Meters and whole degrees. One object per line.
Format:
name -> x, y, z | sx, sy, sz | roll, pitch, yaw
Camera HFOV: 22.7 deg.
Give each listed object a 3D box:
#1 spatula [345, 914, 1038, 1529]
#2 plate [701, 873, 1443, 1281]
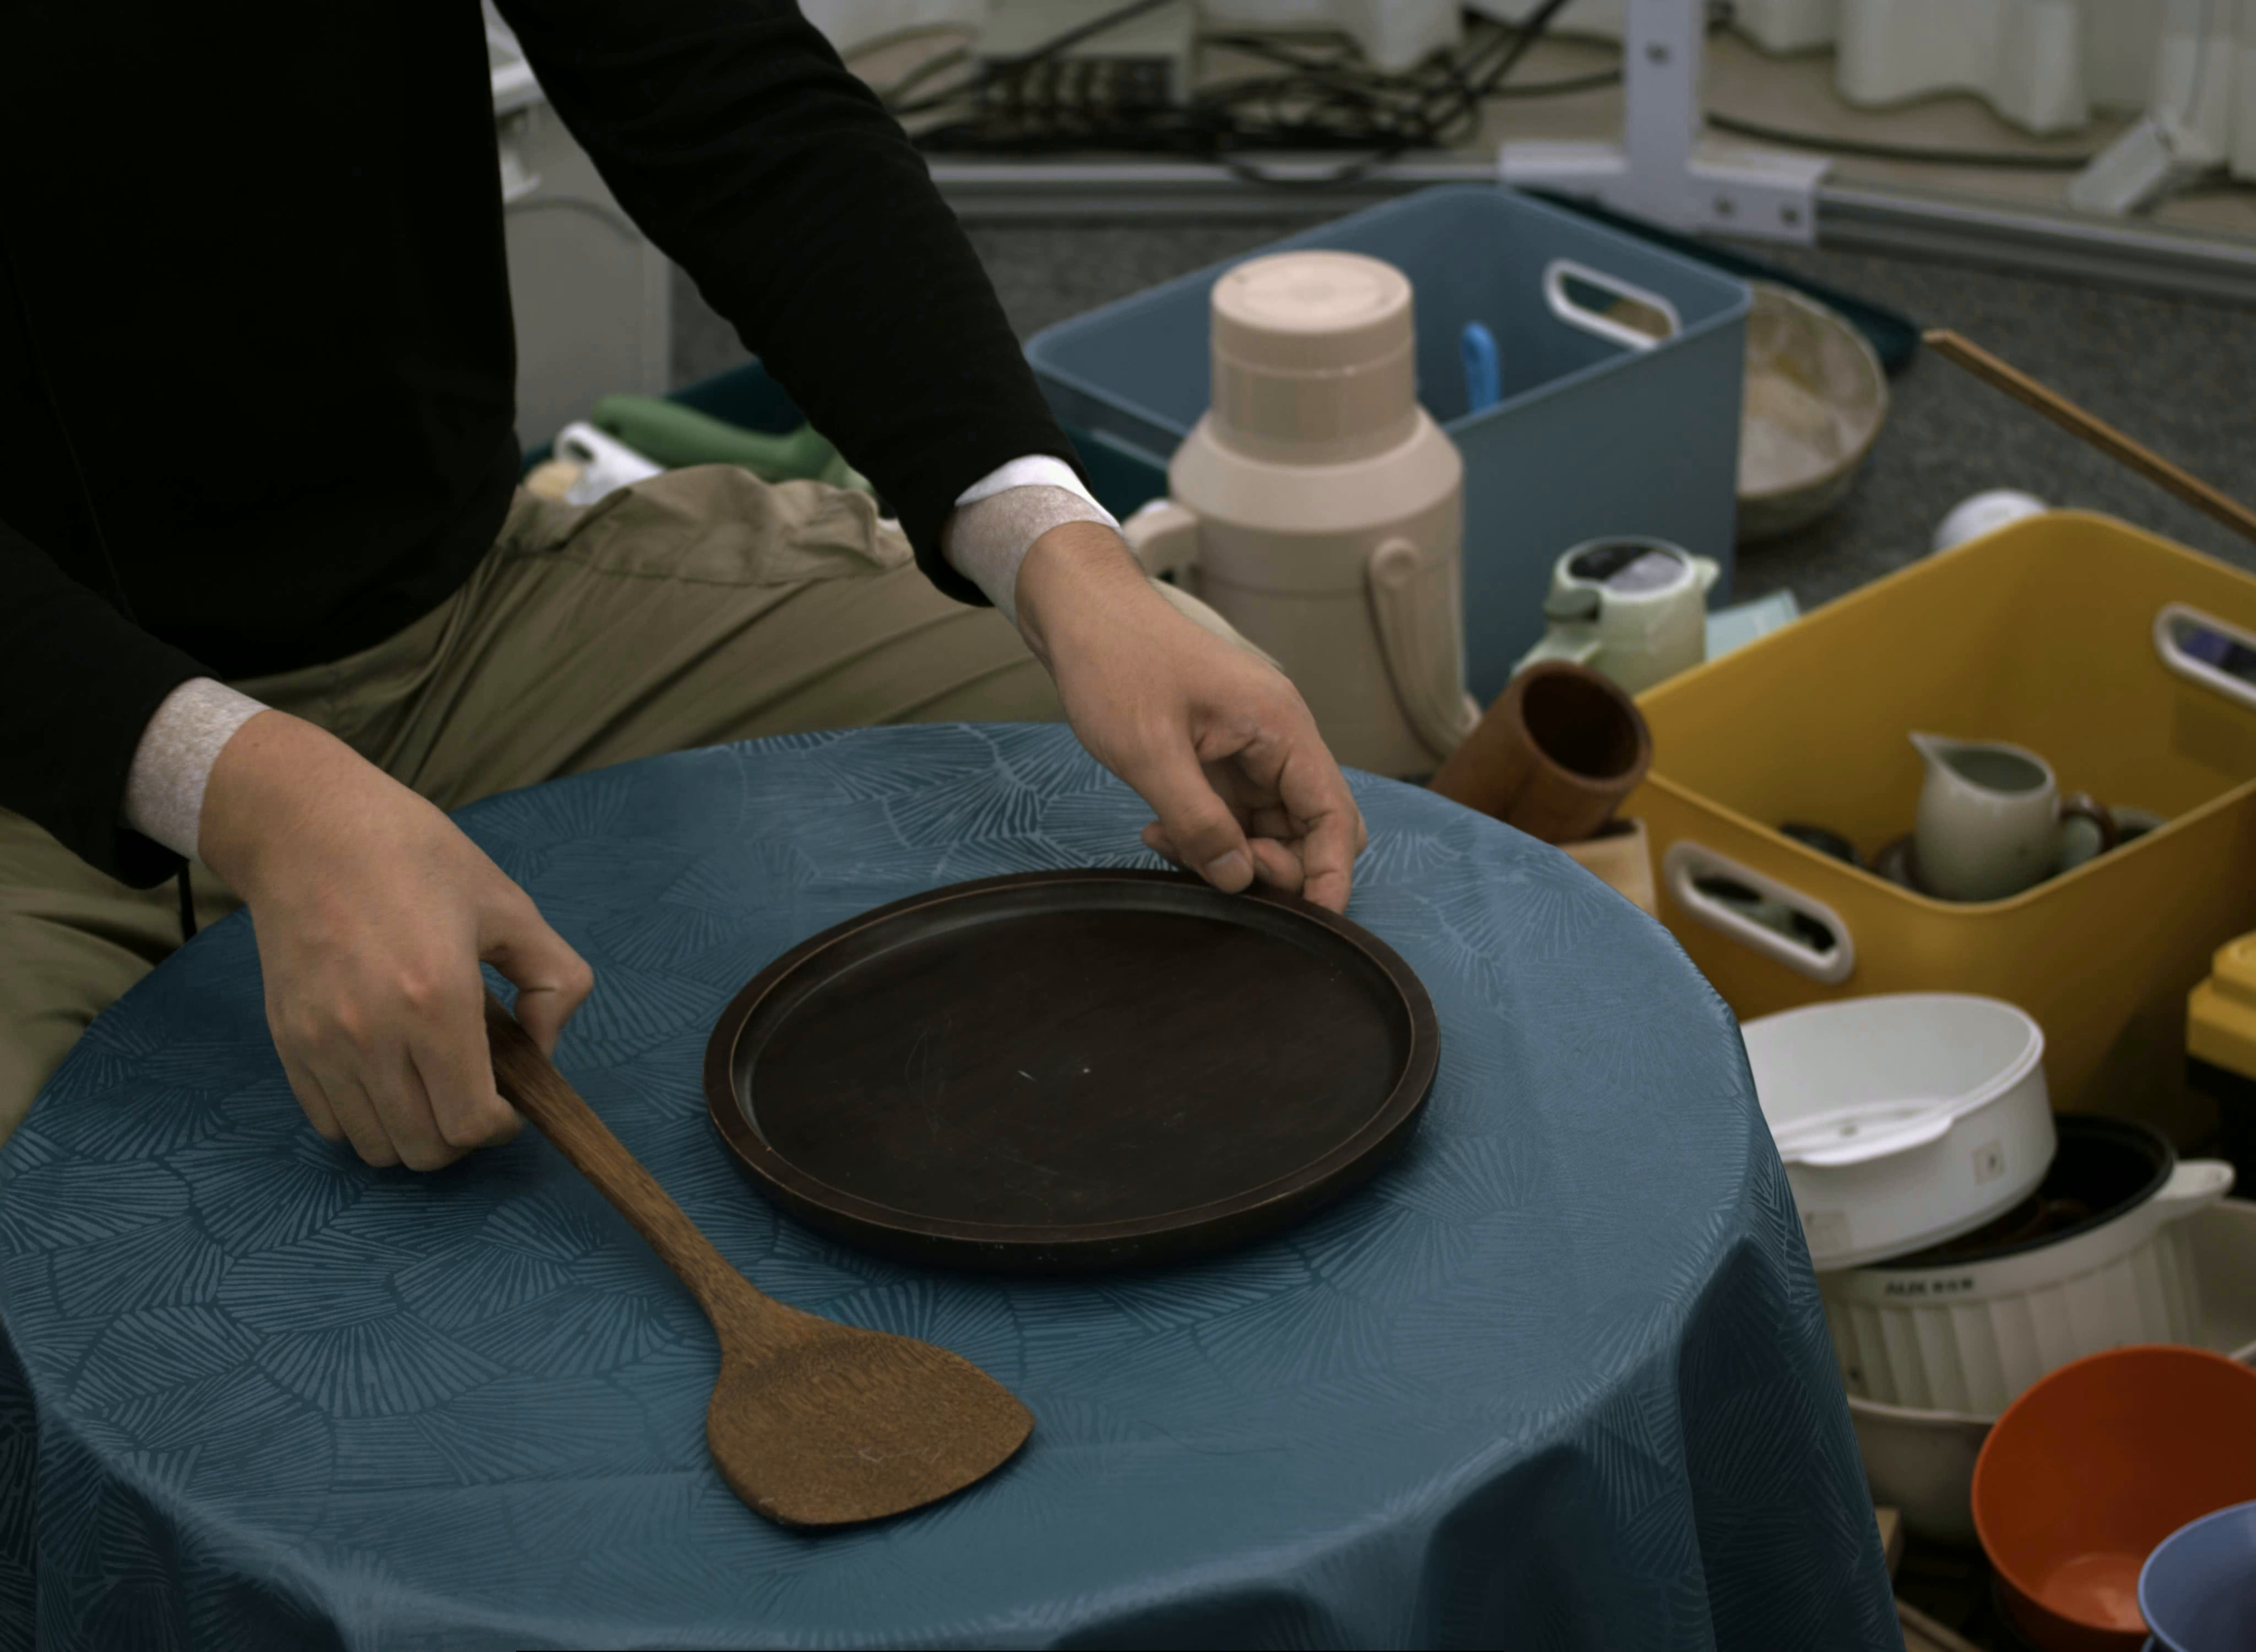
spatula -> -0.163, 0.119, 1.837 | 0.097, 0.015, 0.388 | -19, 37, -28
plate -> -0.019, 0.083, 1.912 | 0.253, 0.029, 0.259 | -3, 28, 2
